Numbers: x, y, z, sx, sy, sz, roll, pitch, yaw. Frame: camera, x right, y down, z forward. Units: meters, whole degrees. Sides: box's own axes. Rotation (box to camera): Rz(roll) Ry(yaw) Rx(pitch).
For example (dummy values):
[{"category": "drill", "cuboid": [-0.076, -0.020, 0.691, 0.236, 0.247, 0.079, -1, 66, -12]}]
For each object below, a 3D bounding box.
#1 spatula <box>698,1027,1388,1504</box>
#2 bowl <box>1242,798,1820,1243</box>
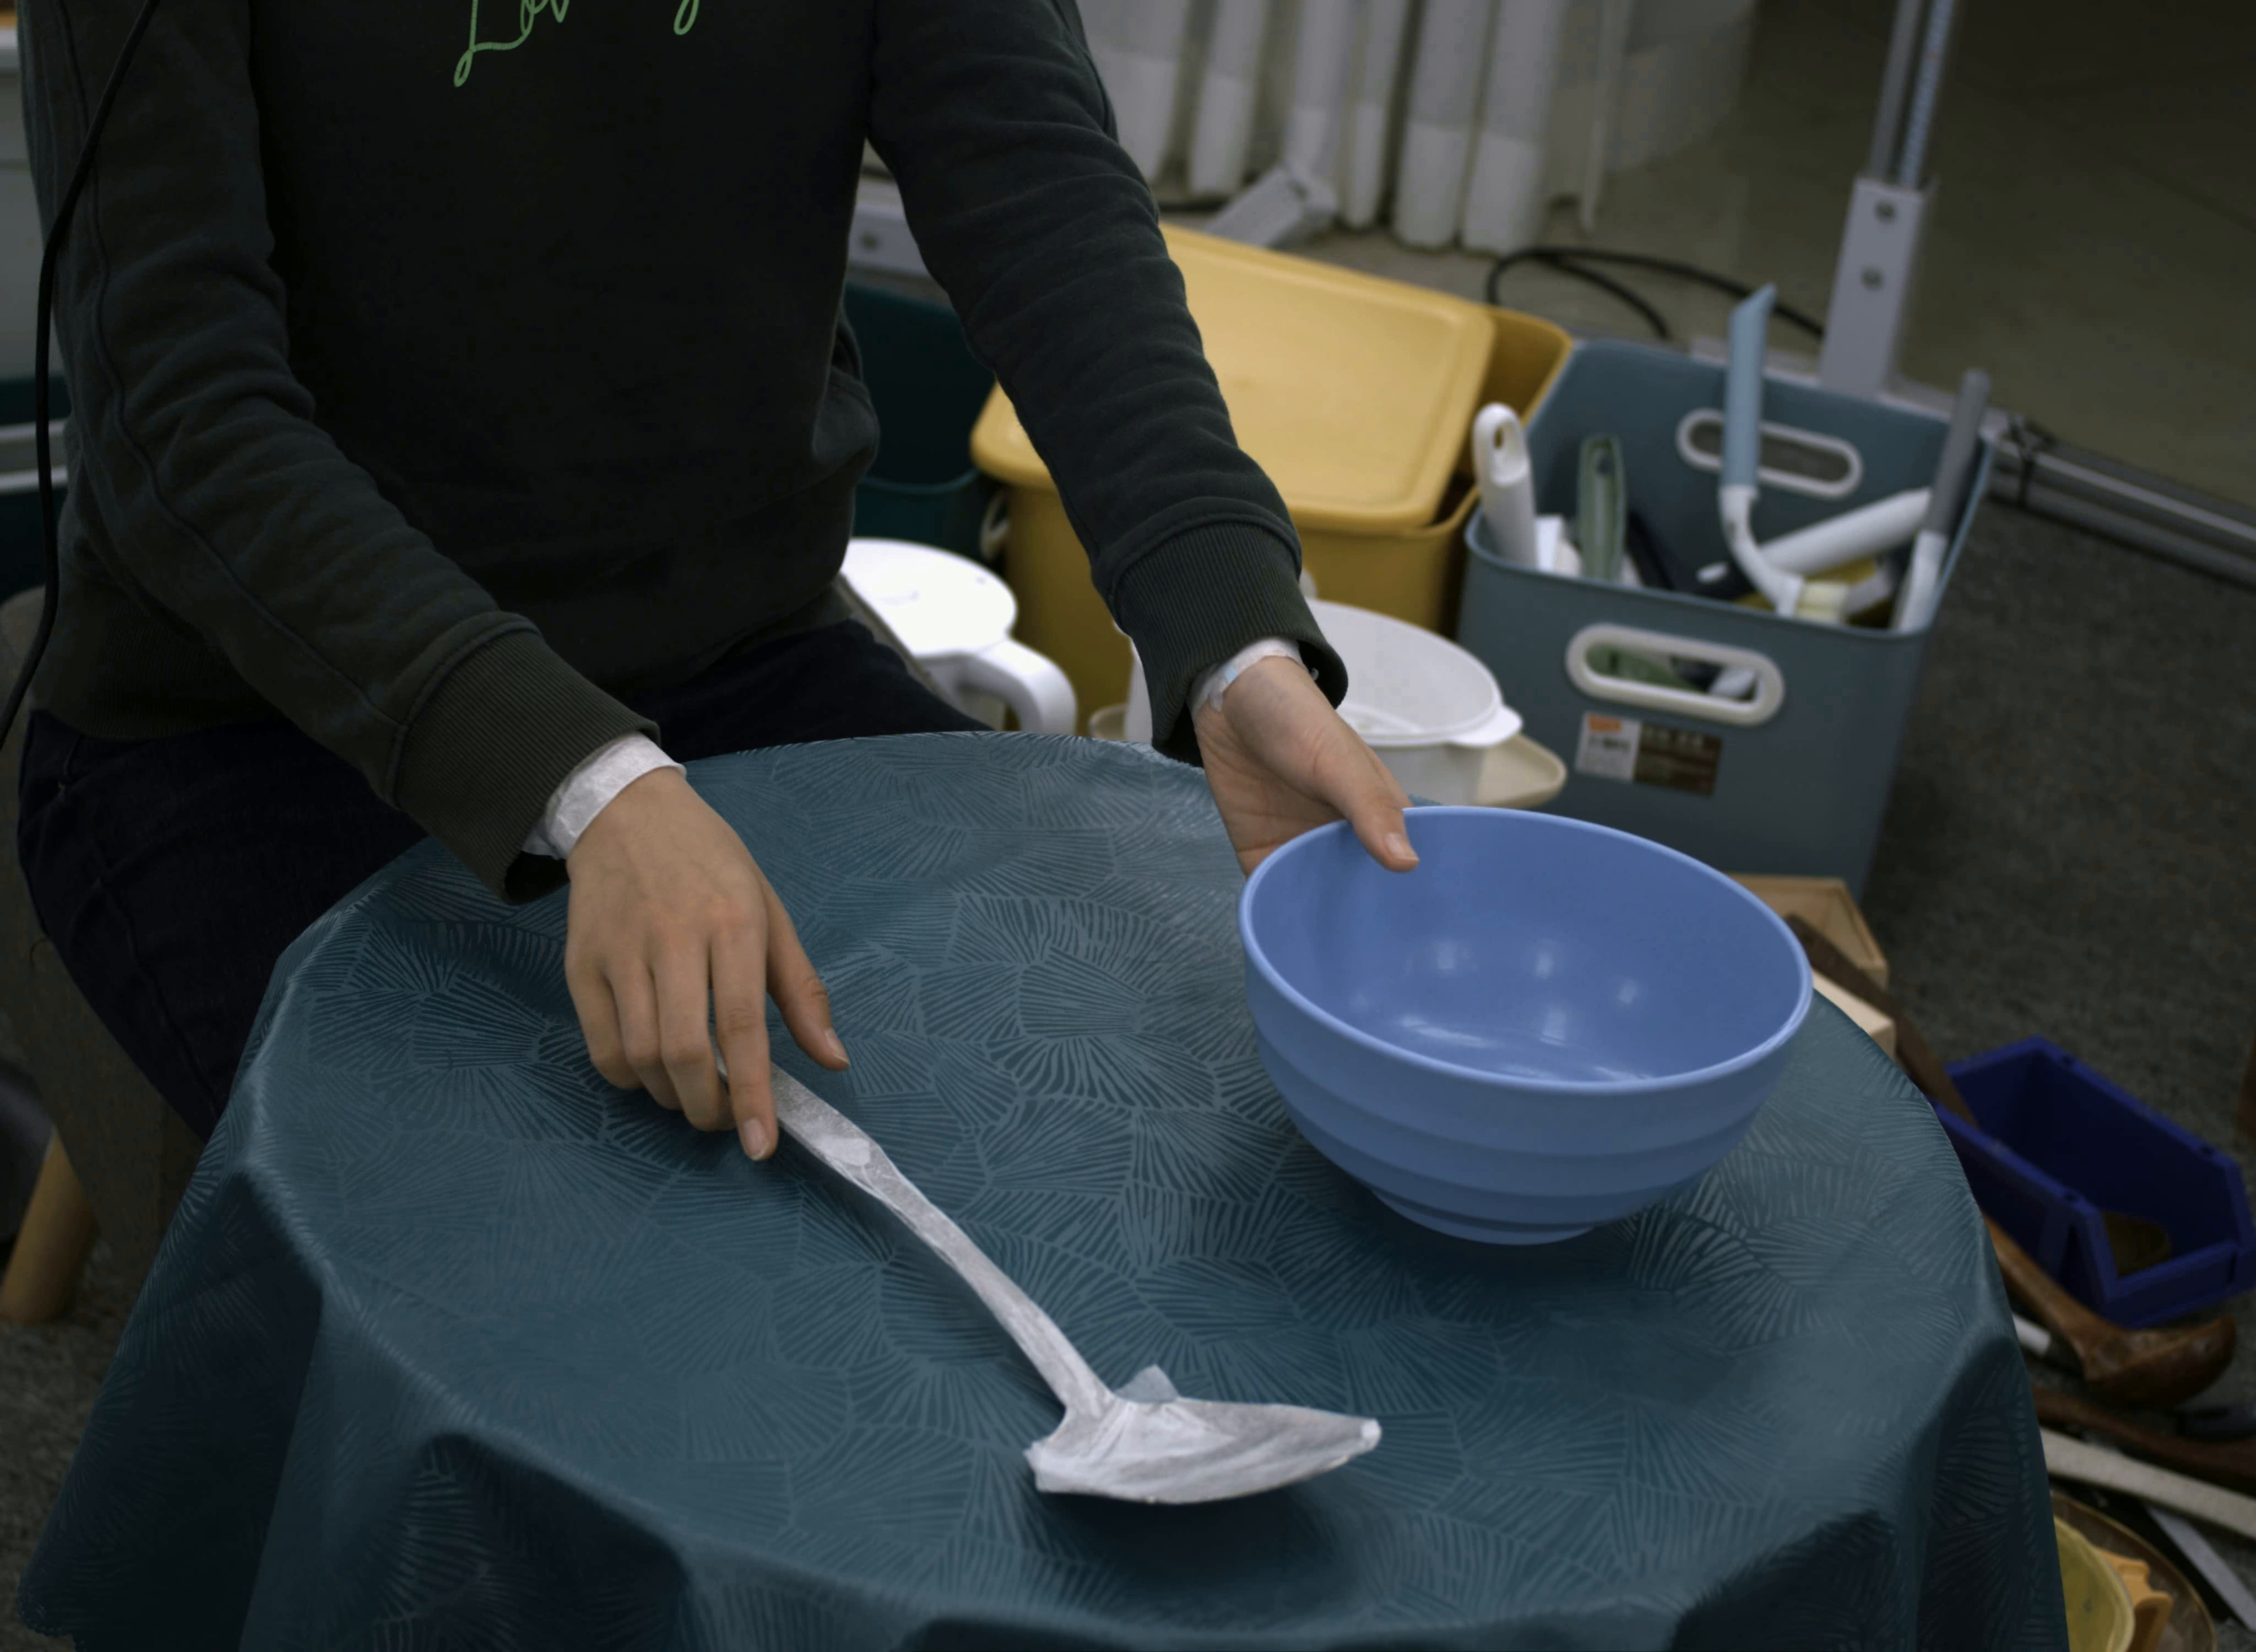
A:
[{"category": "spatula", "cuboid": [-0.052, 0.134, 1.725, 0.098, 0.044, 0.368, -13, 33, -31]}, {"category": "bowl", "cuboid": [0.130, 0.078, 1.813, 0.196, 0.095, 0.198, 6, 28, -3]}]
